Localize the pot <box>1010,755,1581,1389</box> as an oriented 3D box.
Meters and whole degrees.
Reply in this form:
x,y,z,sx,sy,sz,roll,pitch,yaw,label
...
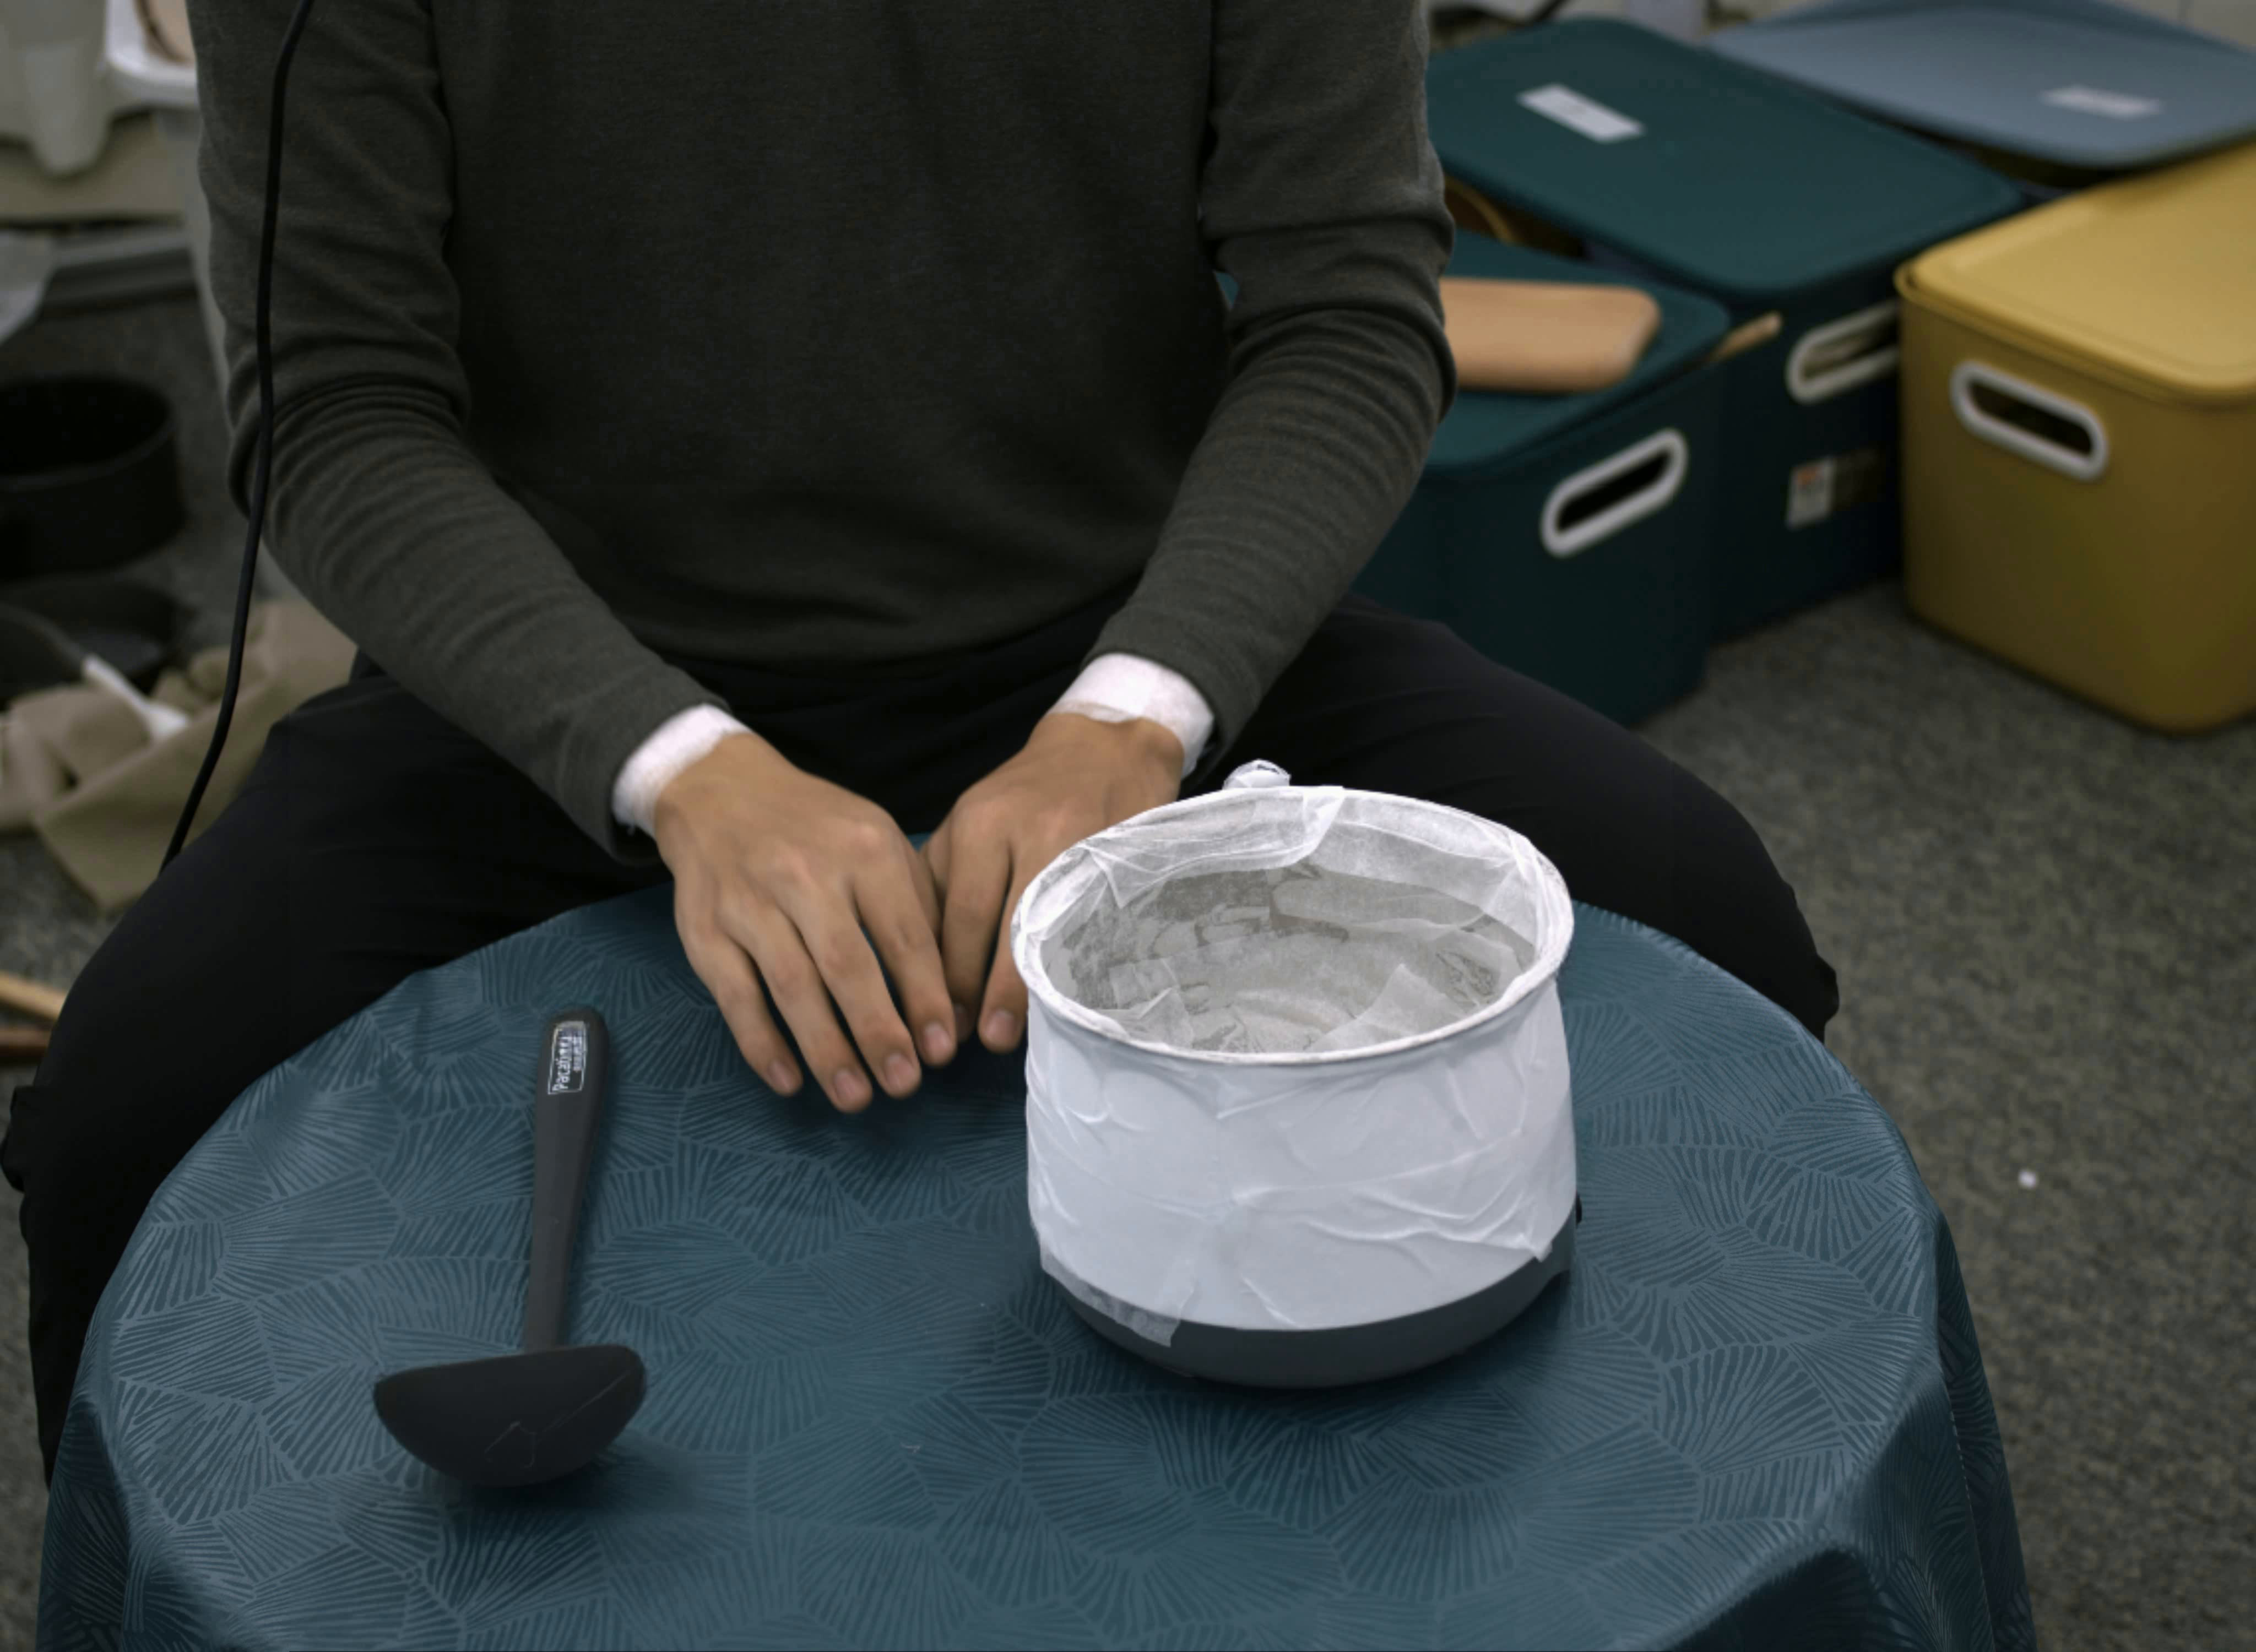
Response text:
x,y,z,sx,sy,sz,roll,pitch,yaw,label
0.052,0.071,1.806,0.178,0.135,0.237,-5,27,-4,pot

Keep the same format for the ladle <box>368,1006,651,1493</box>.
x,y,z,sx,sy,sz,roll,pitch,yaw,label
-0.190,0.118,1.818,0.086,0.063,0.318,-2,27,0,ladle
